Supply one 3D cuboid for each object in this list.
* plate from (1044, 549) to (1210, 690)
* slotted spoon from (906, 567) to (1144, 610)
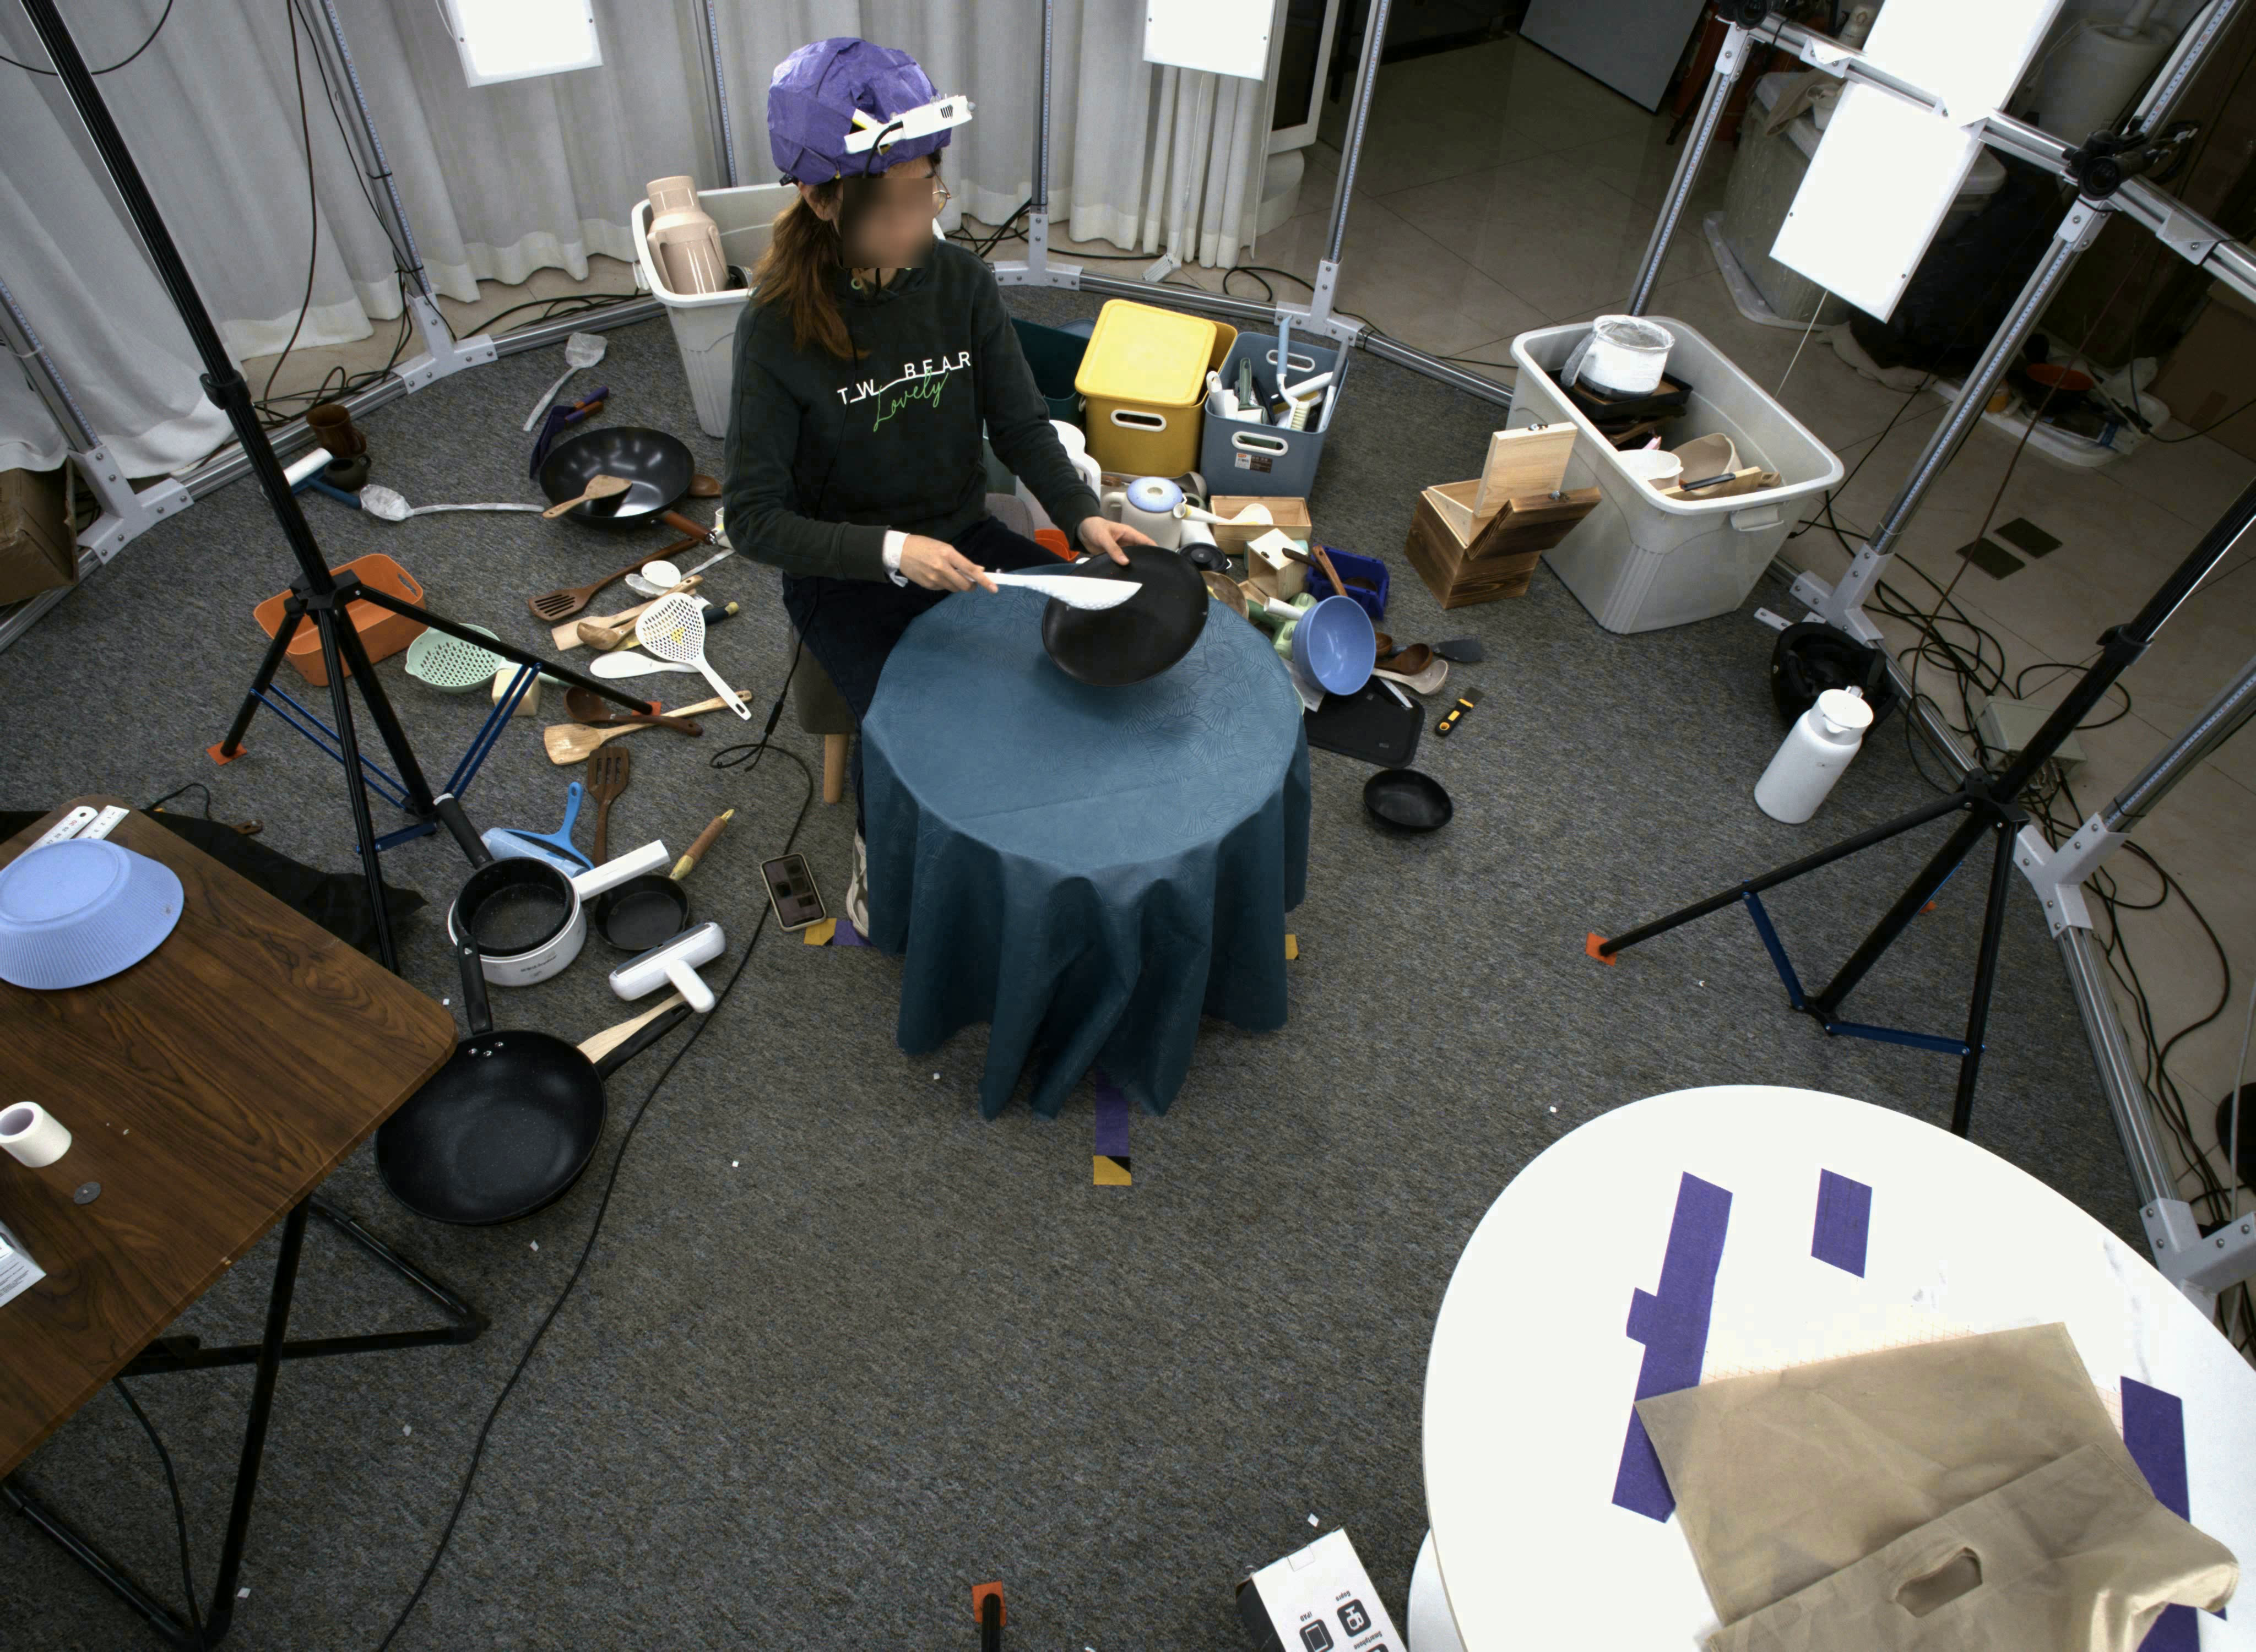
[{"bbox_3d":[-0.001,-0.292,1.827,0.244,0.023,0.250,-8,59,13],"label":"plate"},{"bbox_3d":[-0.148,-0.342,1.797,0.351,0.045,0.136,12,9,18],"label":"slotted spoon"}]
